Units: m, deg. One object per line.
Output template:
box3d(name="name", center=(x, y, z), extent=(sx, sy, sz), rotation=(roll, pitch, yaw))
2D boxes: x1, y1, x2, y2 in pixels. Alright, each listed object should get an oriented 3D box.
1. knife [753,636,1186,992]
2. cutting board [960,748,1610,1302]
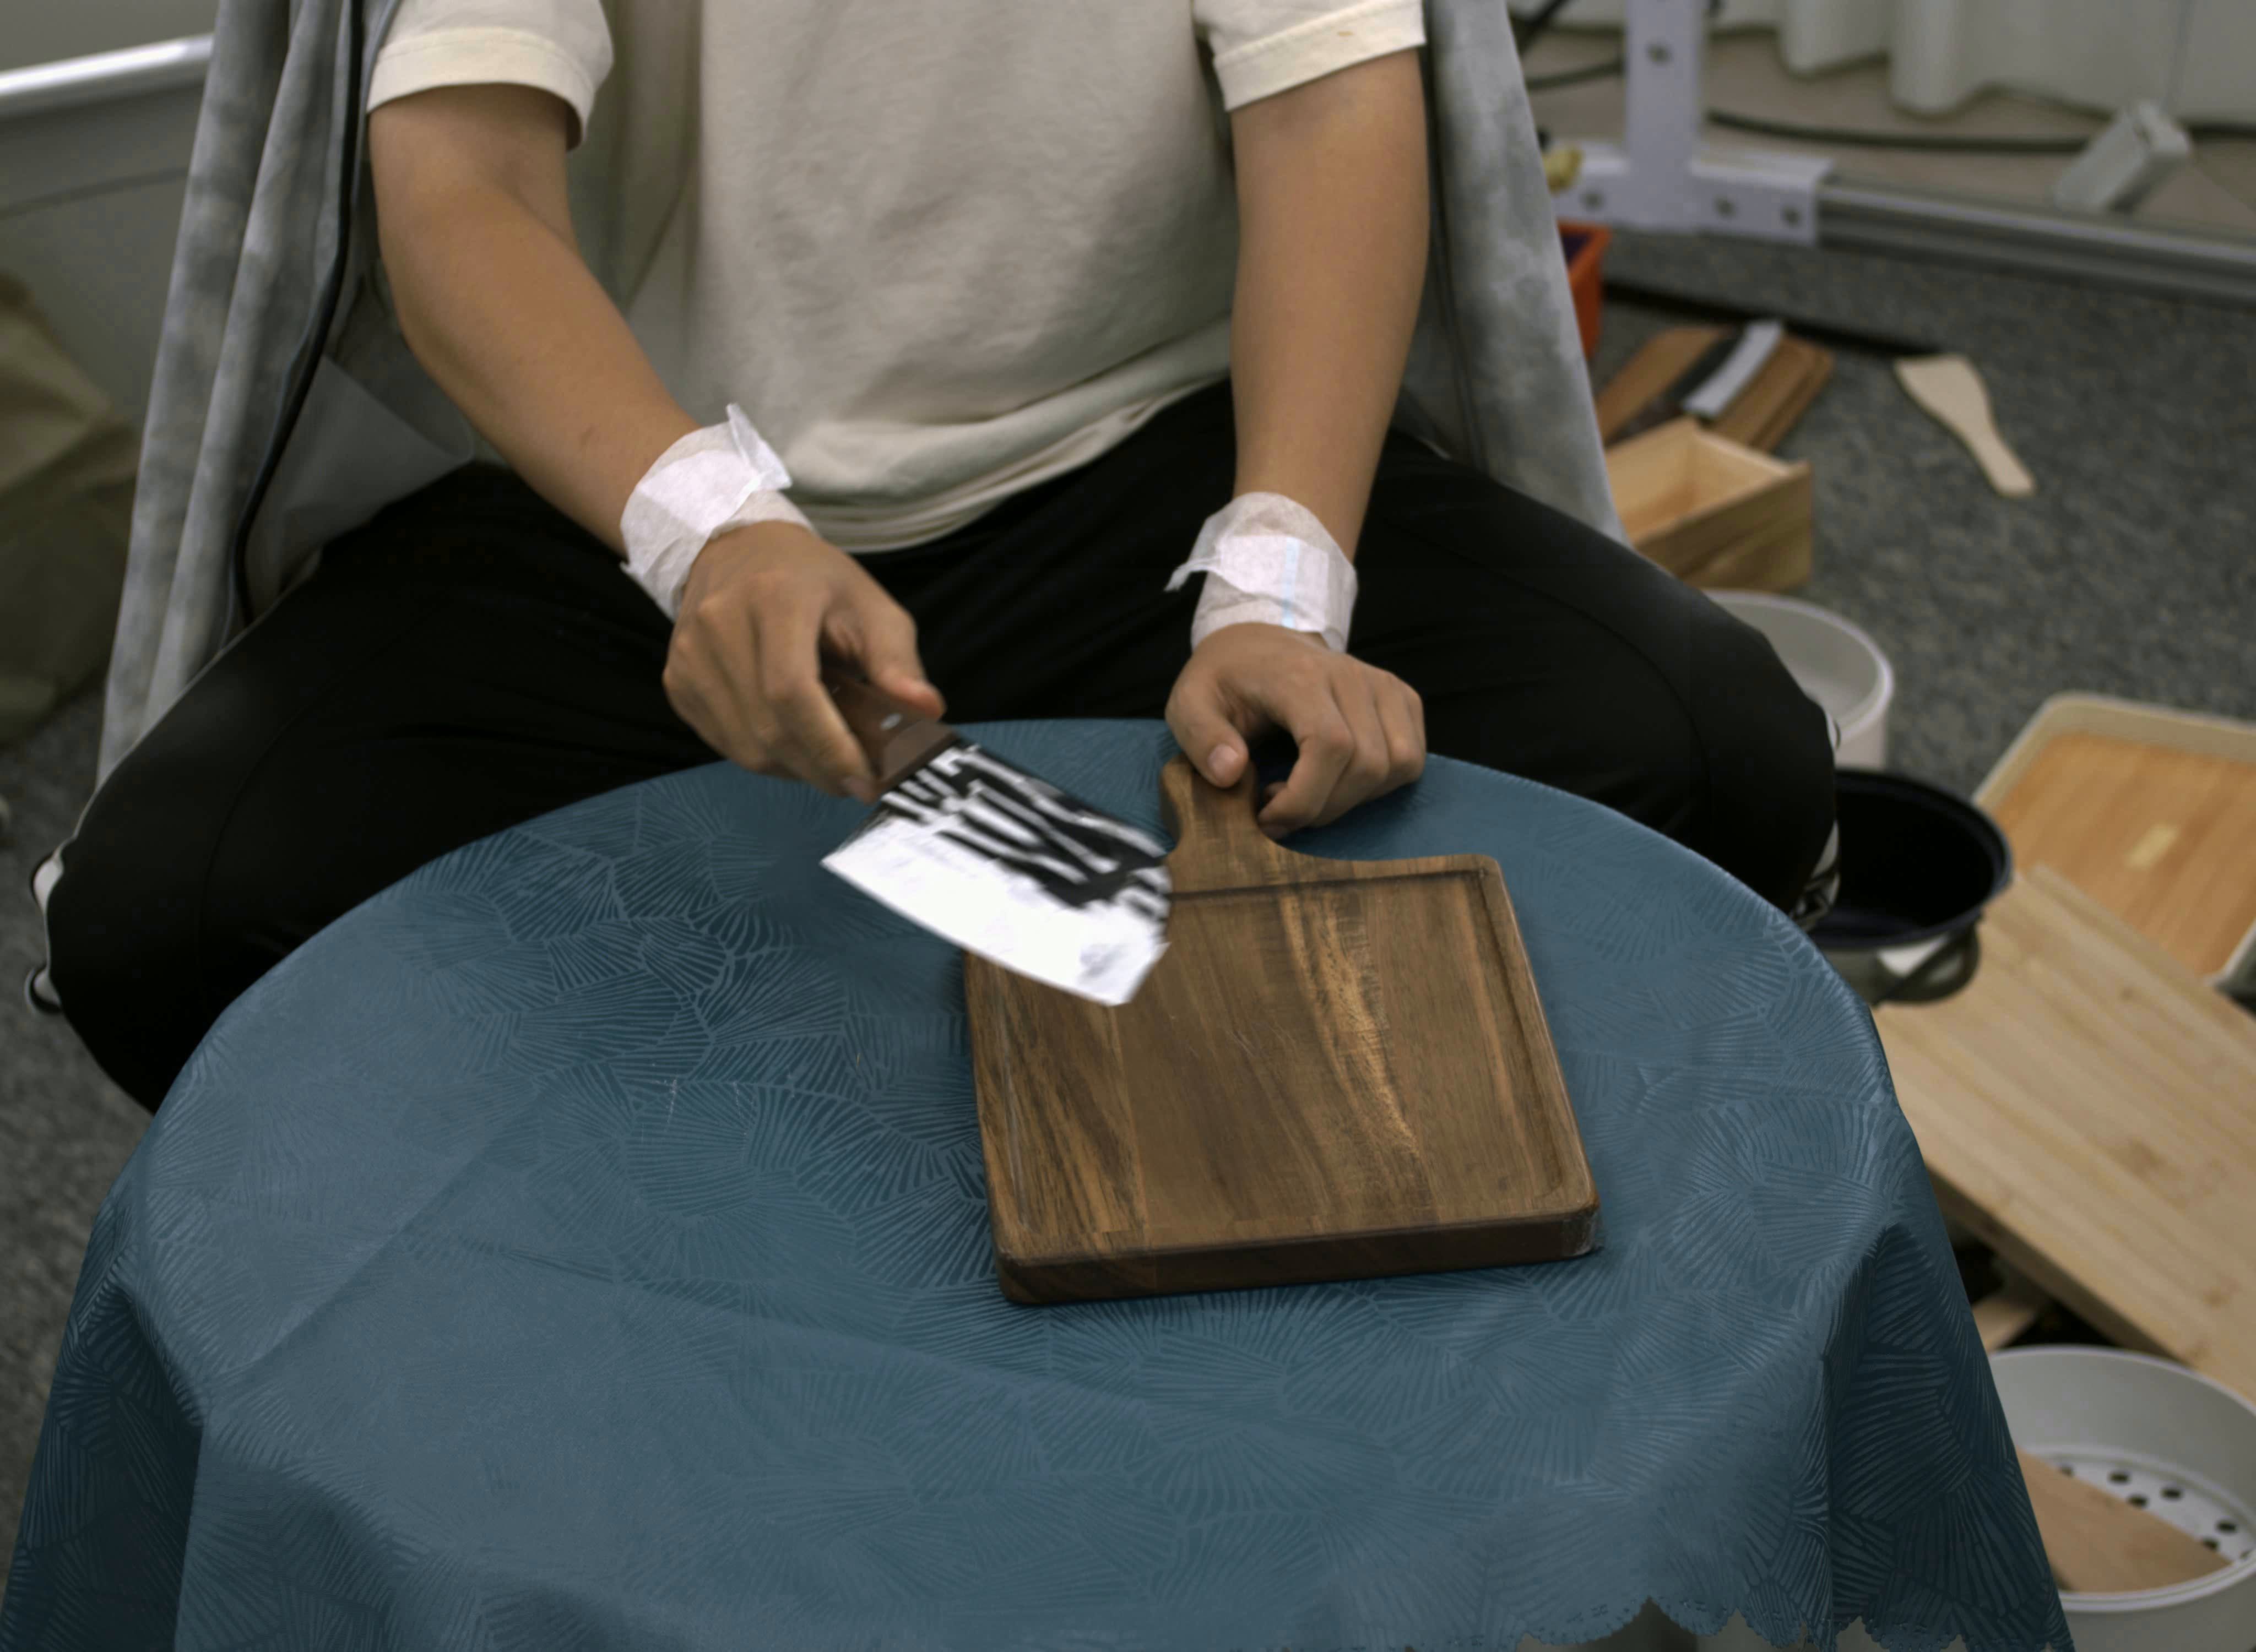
box3d(name="knife", center=(-0.063, -0.005, 1.928), extent=(0.068, 0.024, 0.300), rotation=(-42, 36, -15))
box3d(name="cutting board", center=(0.044, 0.058, 1.957), extent=(0.200, 0.023, 0.357), rotation=(-5, 27, -3))
